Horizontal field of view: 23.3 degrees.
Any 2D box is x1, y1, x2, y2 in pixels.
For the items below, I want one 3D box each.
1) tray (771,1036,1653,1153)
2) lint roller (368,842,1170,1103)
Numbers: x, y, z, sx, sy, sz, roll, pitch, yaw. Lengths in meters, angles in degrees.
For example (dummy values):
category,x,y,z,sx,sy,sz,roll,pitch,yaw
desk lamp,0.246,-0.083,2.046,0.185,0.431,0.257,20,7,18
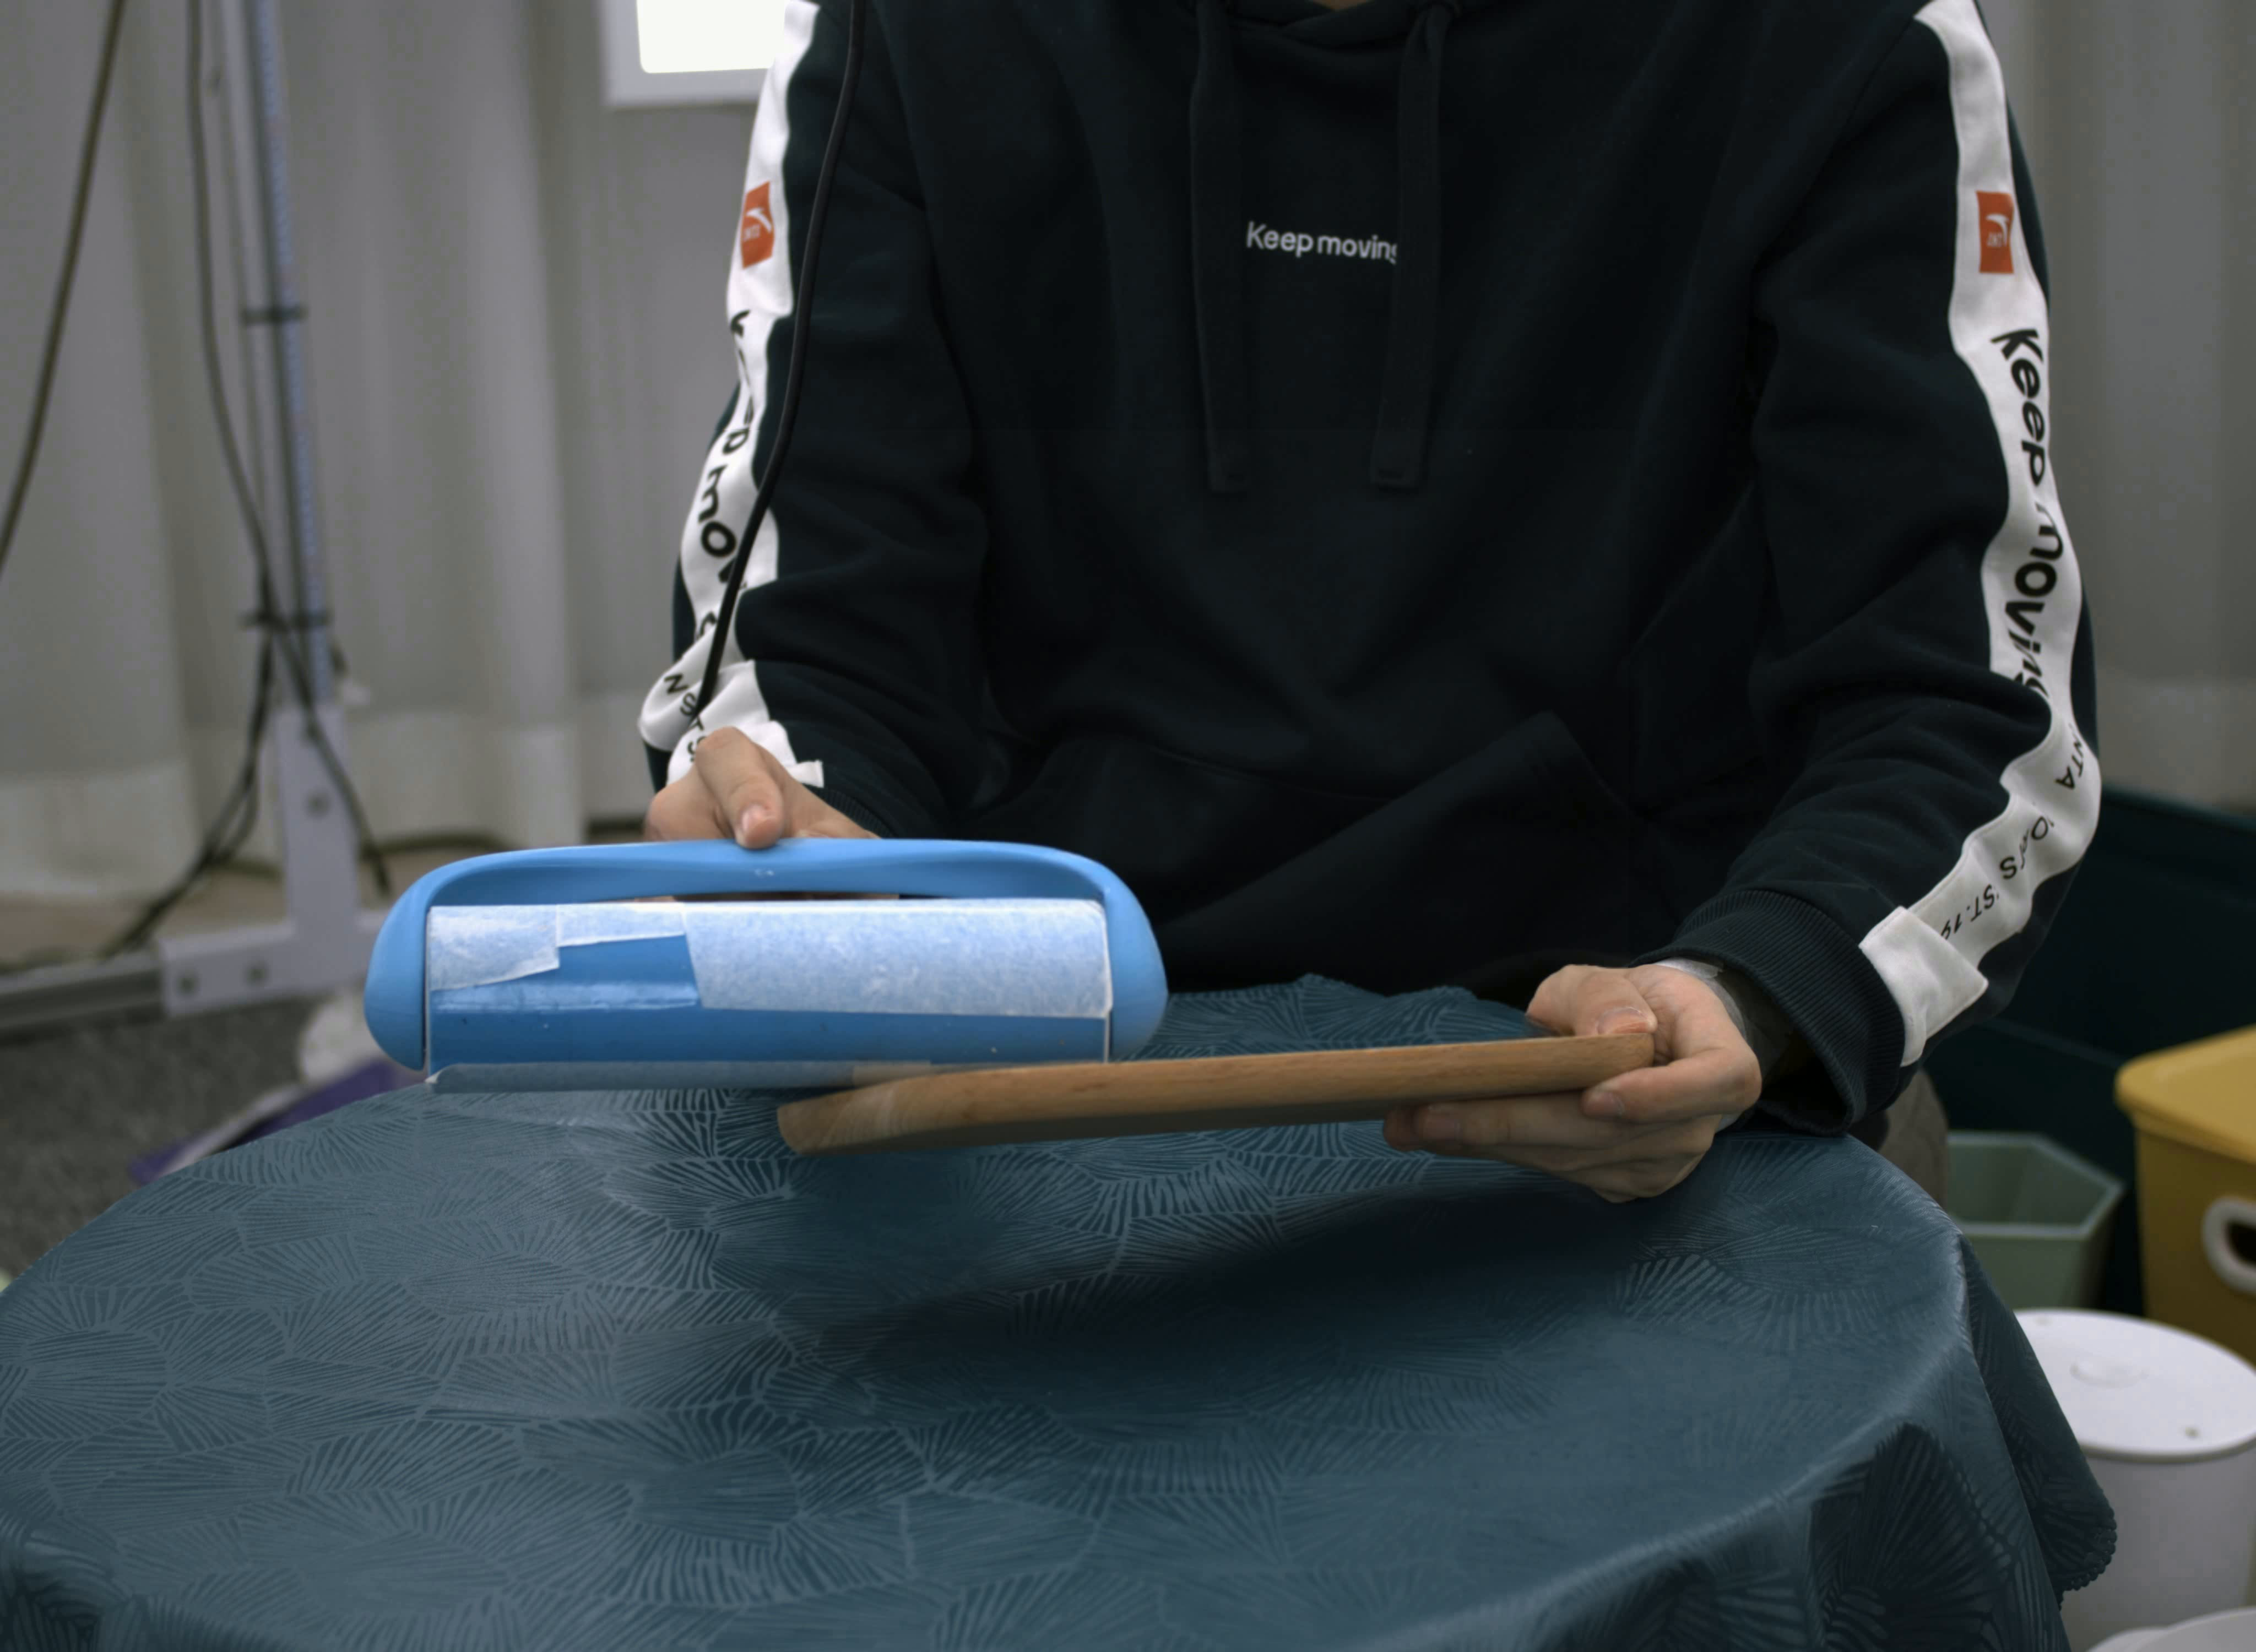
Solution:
category,x,y,z,sx,sy,sz,roll,pitch,yaw
tray,0.026,0.079,1.599,0.249,0.023,0.130,-2,-9,-28
lint roller,-0.110,0.035,1.617,0.228,0.068,0.181,-4,12,-7
